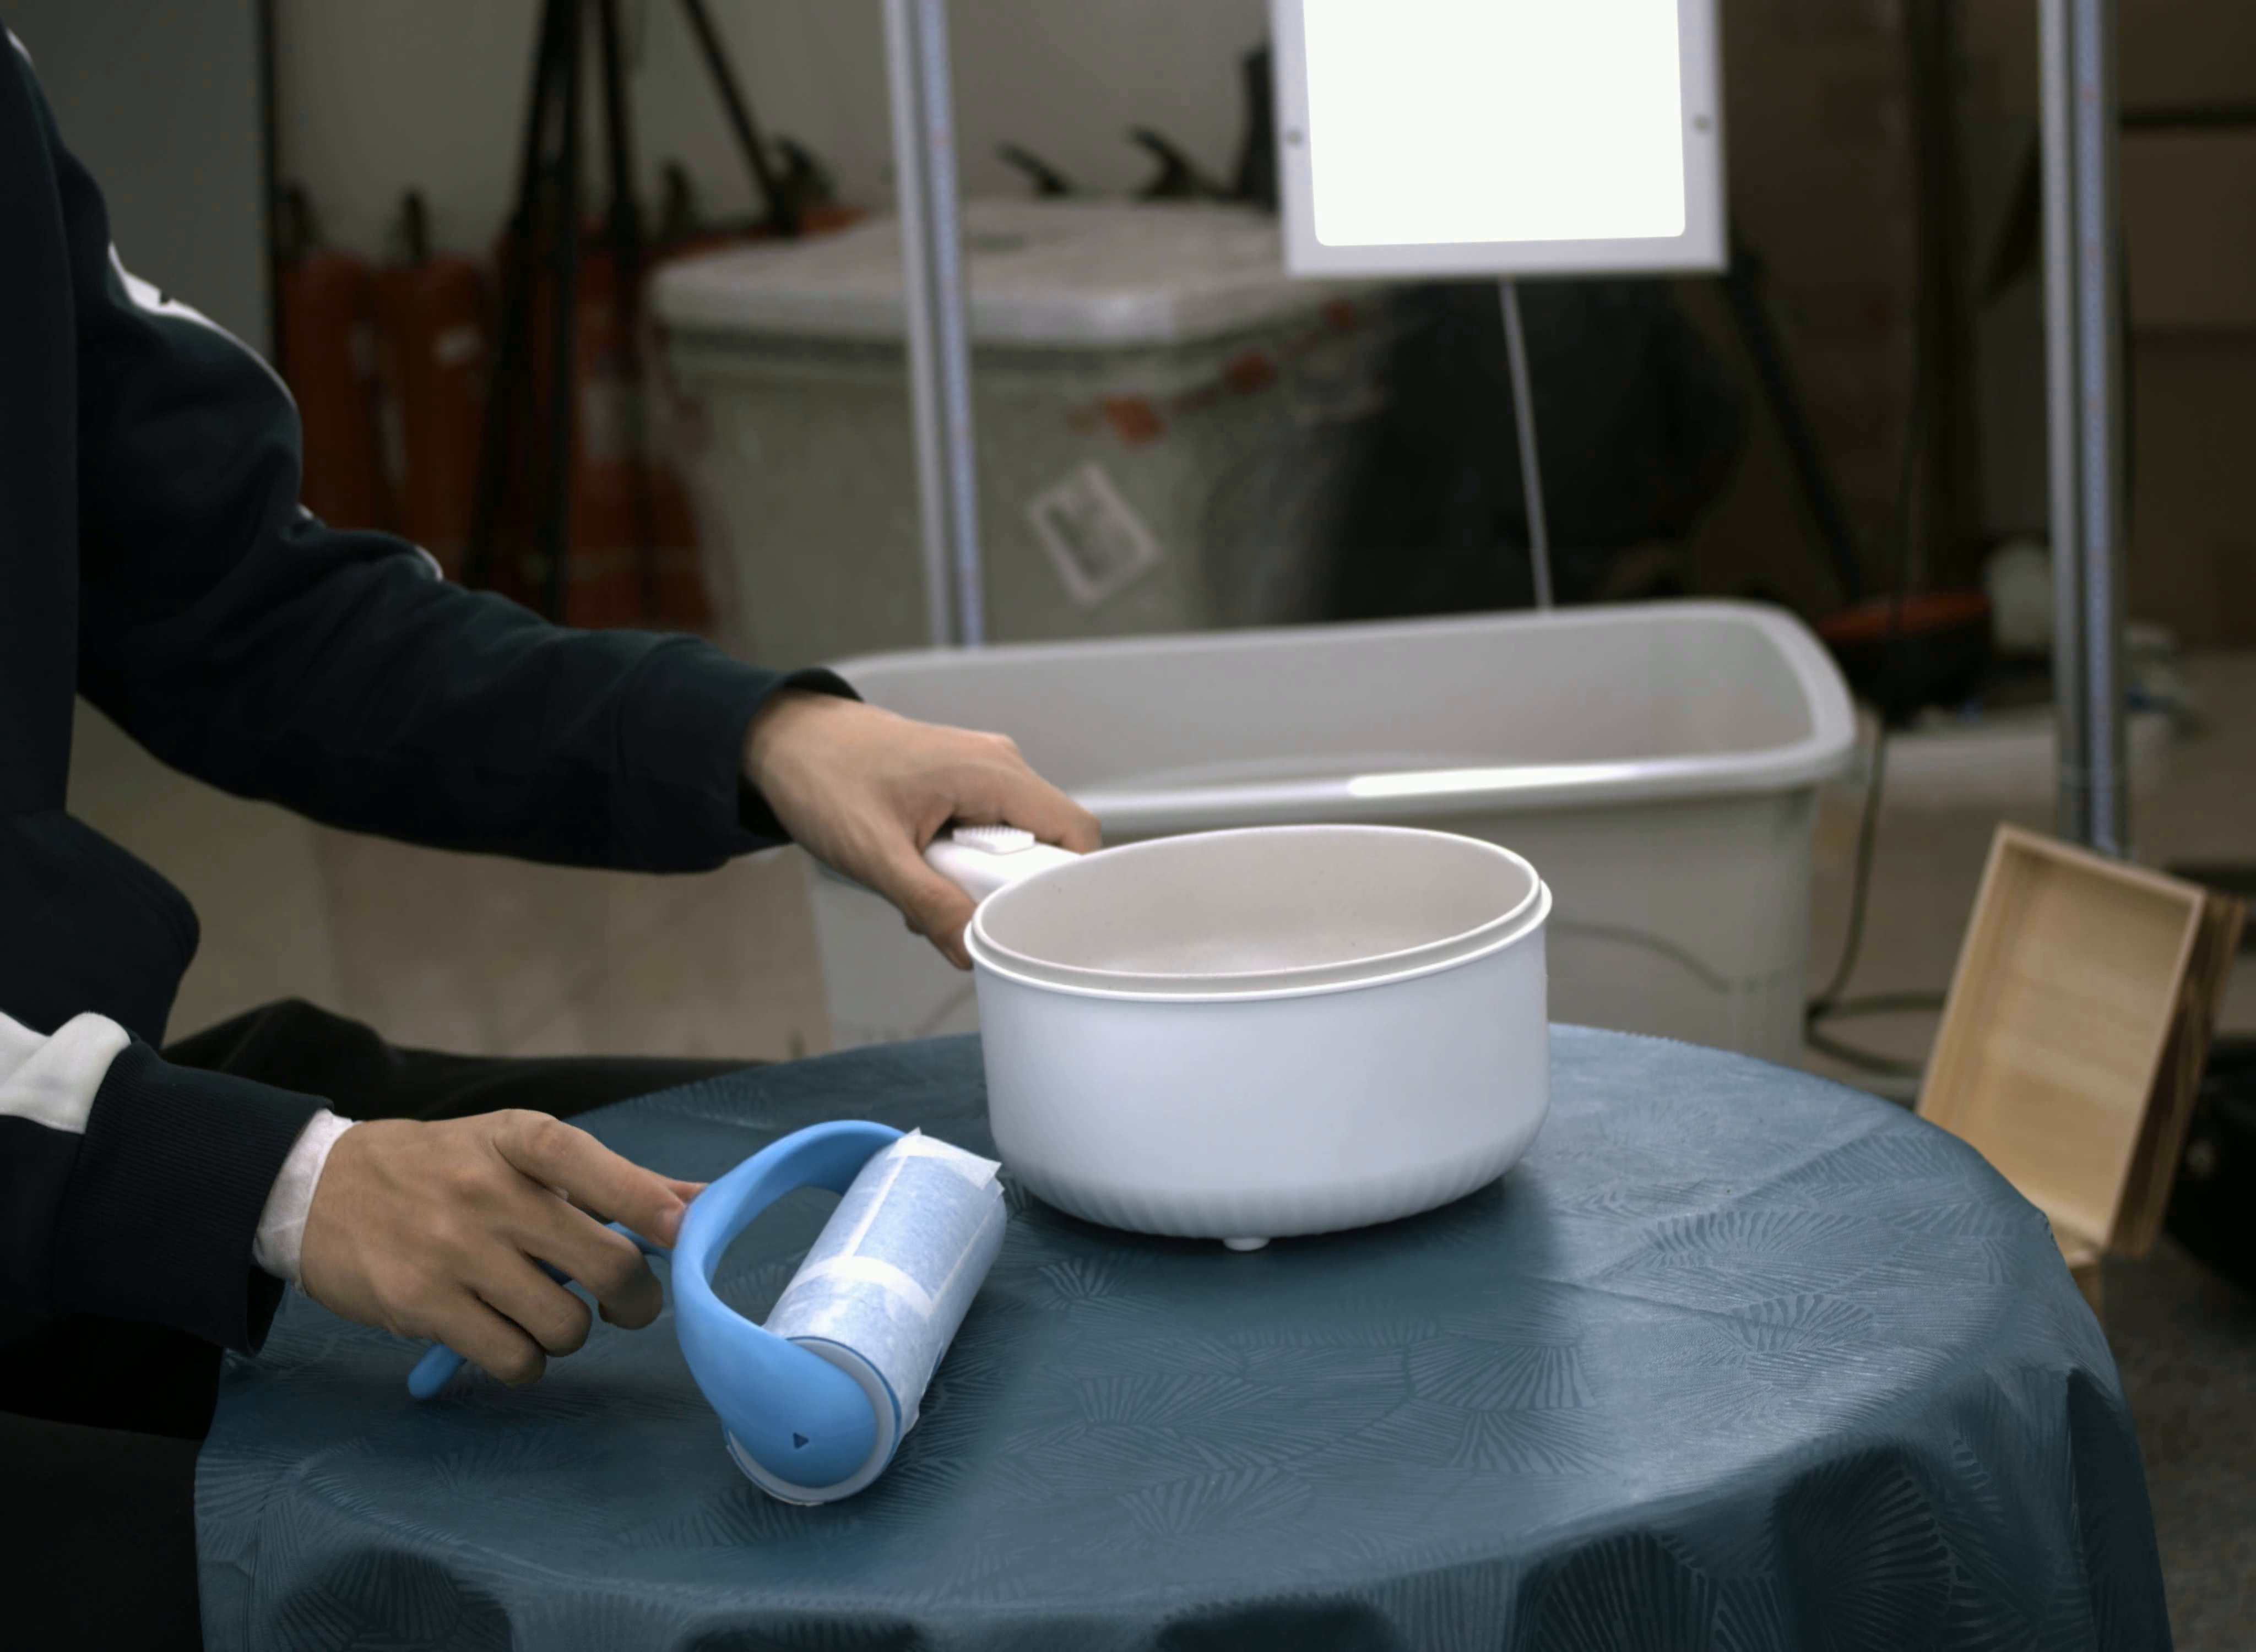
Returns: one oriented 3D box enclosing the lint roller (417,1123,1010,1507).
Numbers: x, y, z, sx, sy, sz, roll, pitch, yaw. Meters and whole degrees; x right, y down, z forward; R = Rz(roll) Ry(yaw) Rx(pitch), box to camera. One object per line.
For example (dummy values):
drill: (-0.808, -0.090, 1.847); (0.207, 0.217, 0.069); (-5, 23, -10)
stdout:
lint roller: (-0.136, 0.151, 1.720); (0.181, 0.068, 0.227); (-1, 16, 7)

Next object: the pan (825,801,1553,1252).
pan: (0.003, 0.063, 1.946); (0.196, 0.102, 0.362); (-15, 16, -32)
